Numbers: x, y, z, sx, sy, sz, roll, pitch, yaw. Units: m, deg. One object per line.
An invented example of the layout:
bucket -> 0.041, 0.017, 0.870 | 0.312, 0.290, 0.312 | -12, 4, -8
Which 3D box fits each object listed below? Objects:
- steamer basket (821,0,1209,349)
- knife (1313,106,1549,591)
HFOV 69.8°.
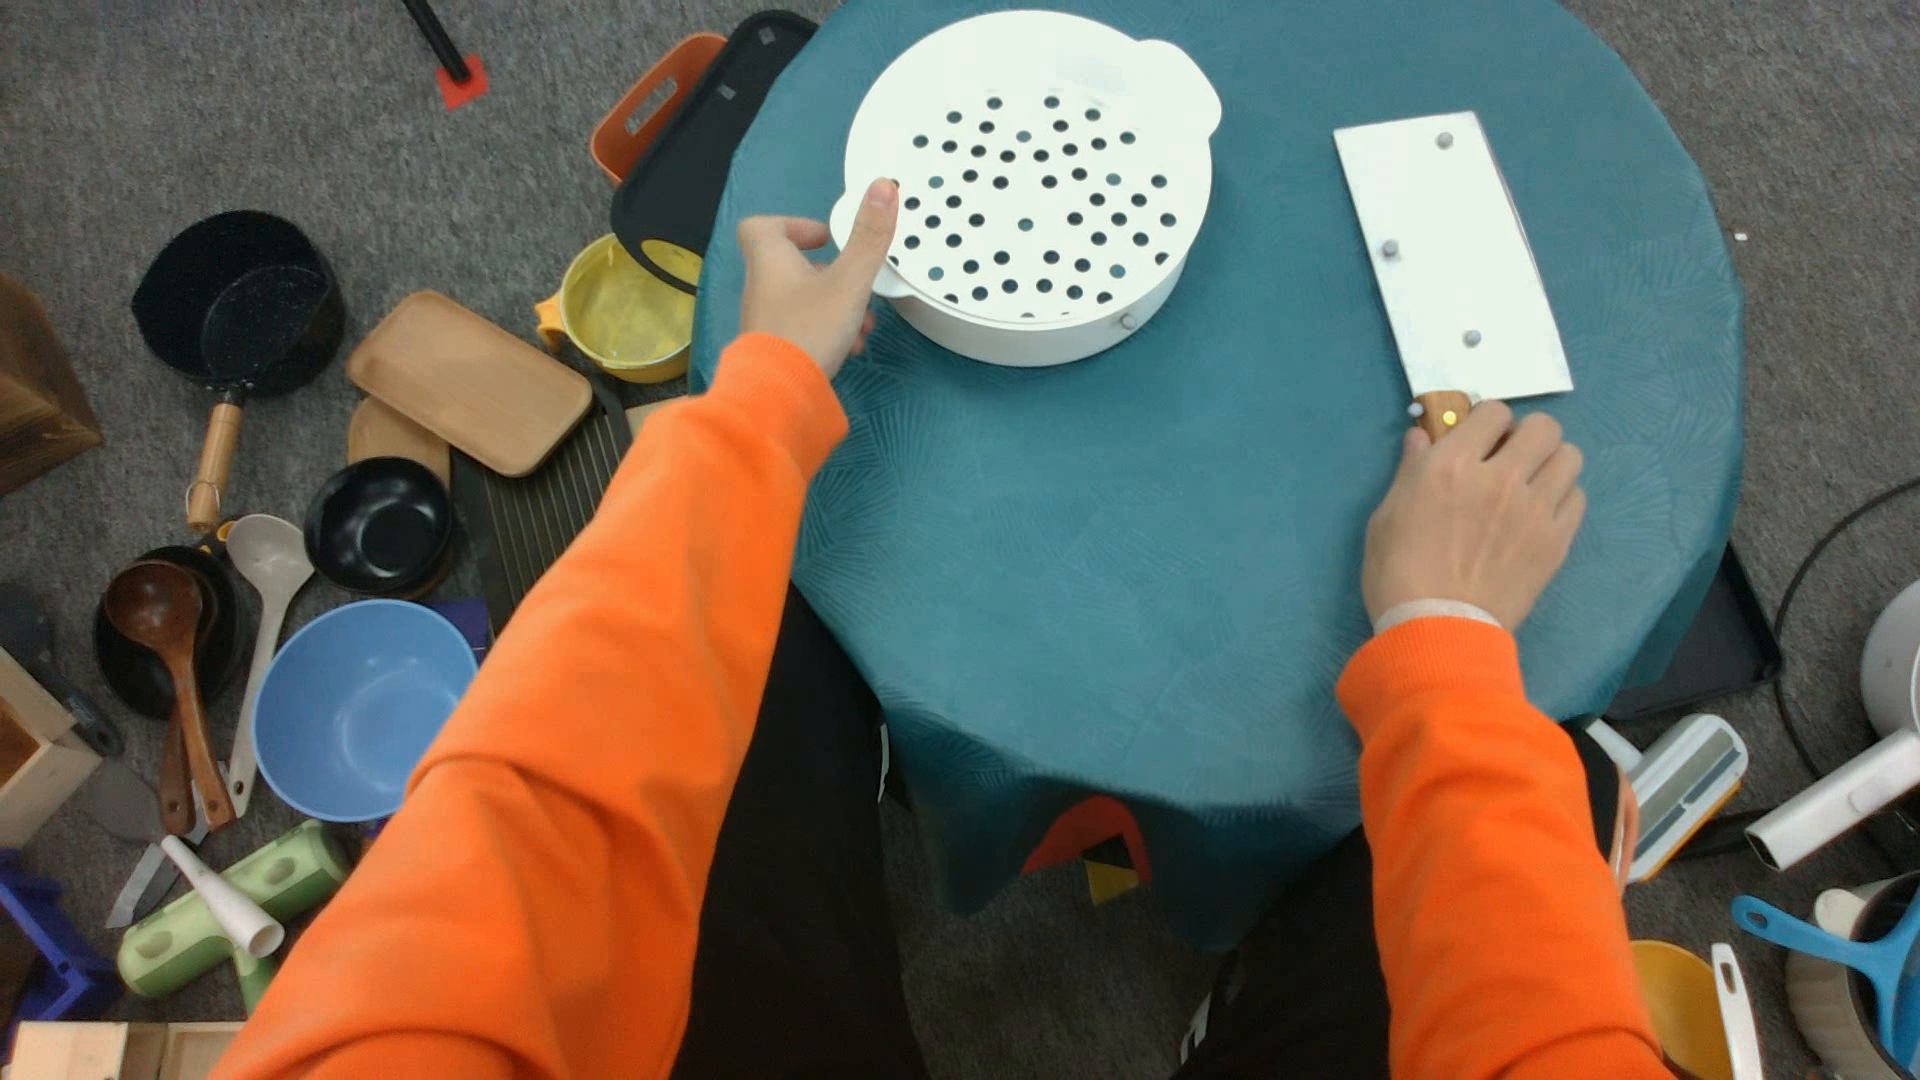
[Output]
steamer basket -> 0.032, -0.207, 0.785 | 0.231, 0.069, 0.202 | -29, 74, -11
knife -> 0.279, -0.120, 0.780 | 0.093, 0.021, 0.306 | -8, 69, -4
